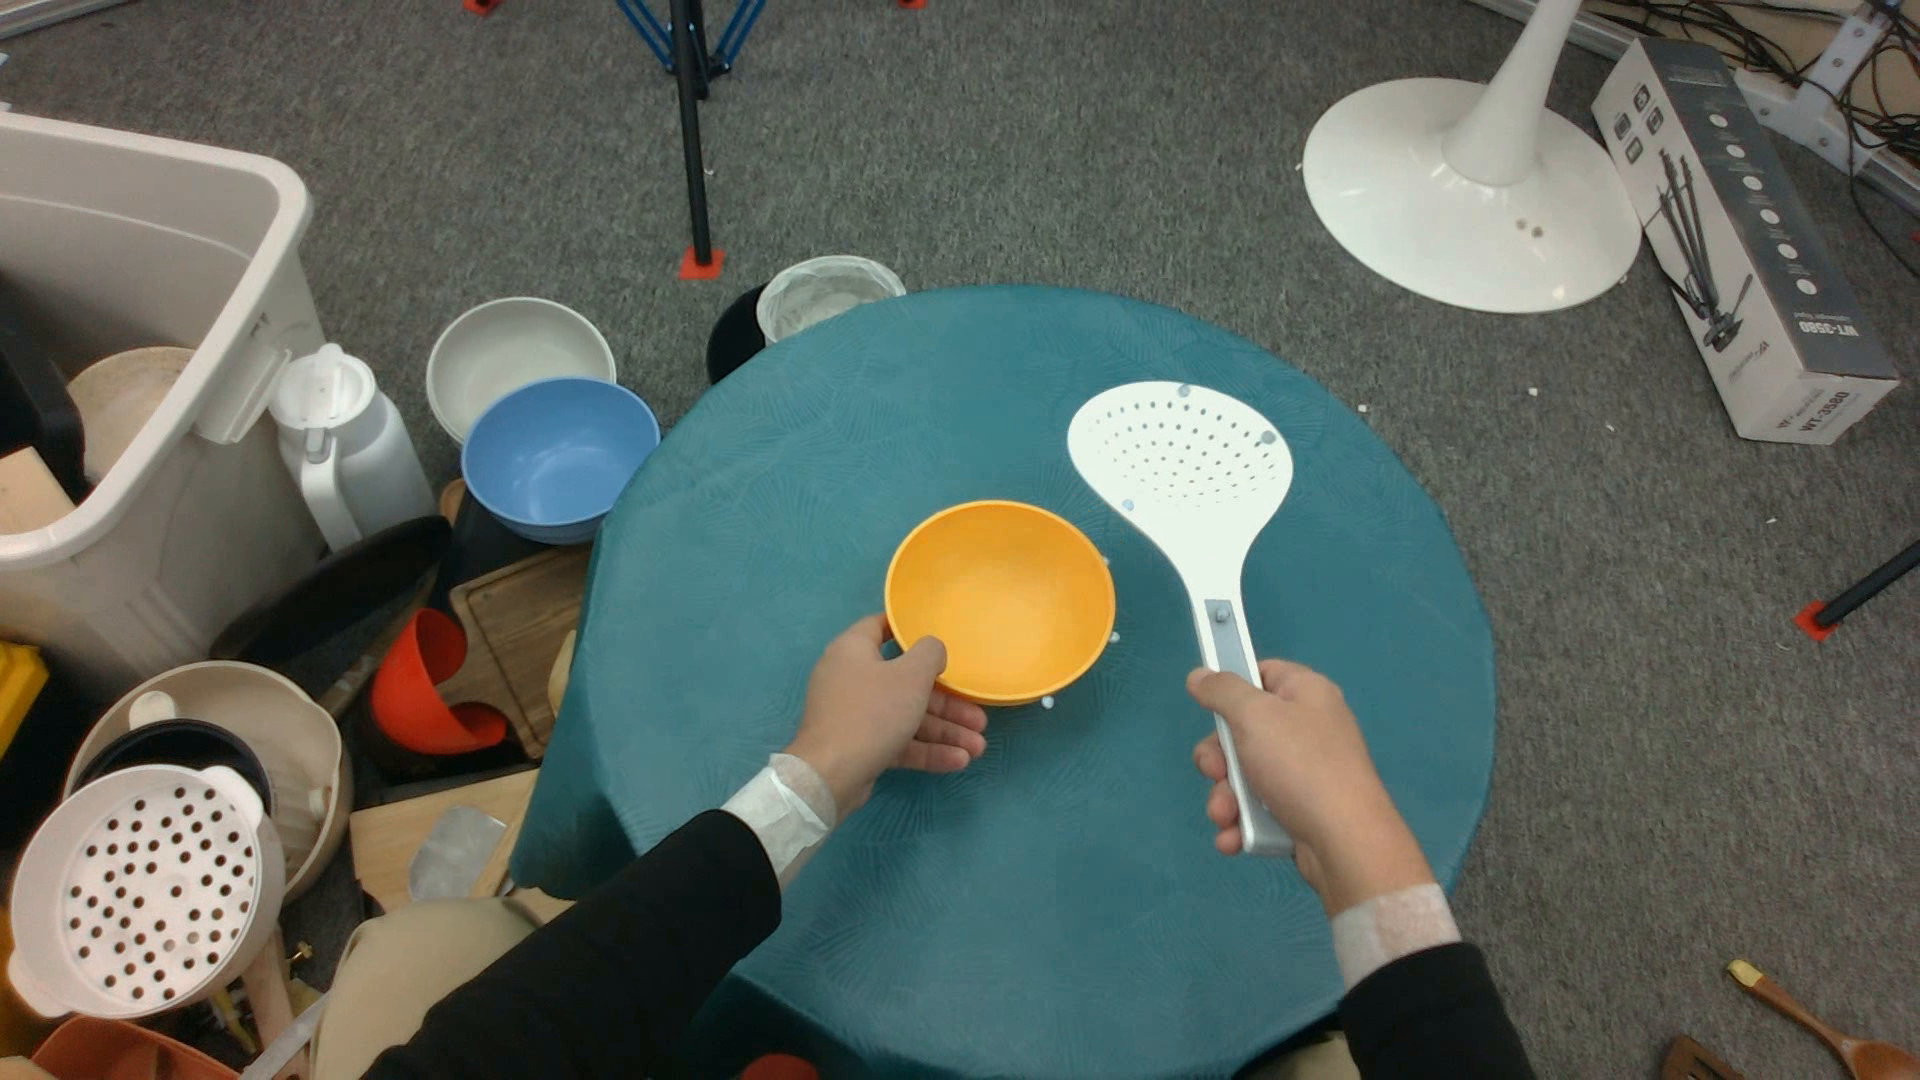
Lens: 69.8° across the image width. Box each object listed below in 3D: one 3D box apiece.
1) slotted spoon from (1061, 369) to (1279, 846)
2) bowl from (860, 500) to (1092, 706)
[{"bbox_3d":[0.132,0.019,0.771,0.136,0.045,0.351,4,39,-6],"label":"slotted spoon"},{"bbox_3d":[0.009,0.049,0.875,0.145,0.060,0.146,1,57,-2],"label":"bowl"}]
